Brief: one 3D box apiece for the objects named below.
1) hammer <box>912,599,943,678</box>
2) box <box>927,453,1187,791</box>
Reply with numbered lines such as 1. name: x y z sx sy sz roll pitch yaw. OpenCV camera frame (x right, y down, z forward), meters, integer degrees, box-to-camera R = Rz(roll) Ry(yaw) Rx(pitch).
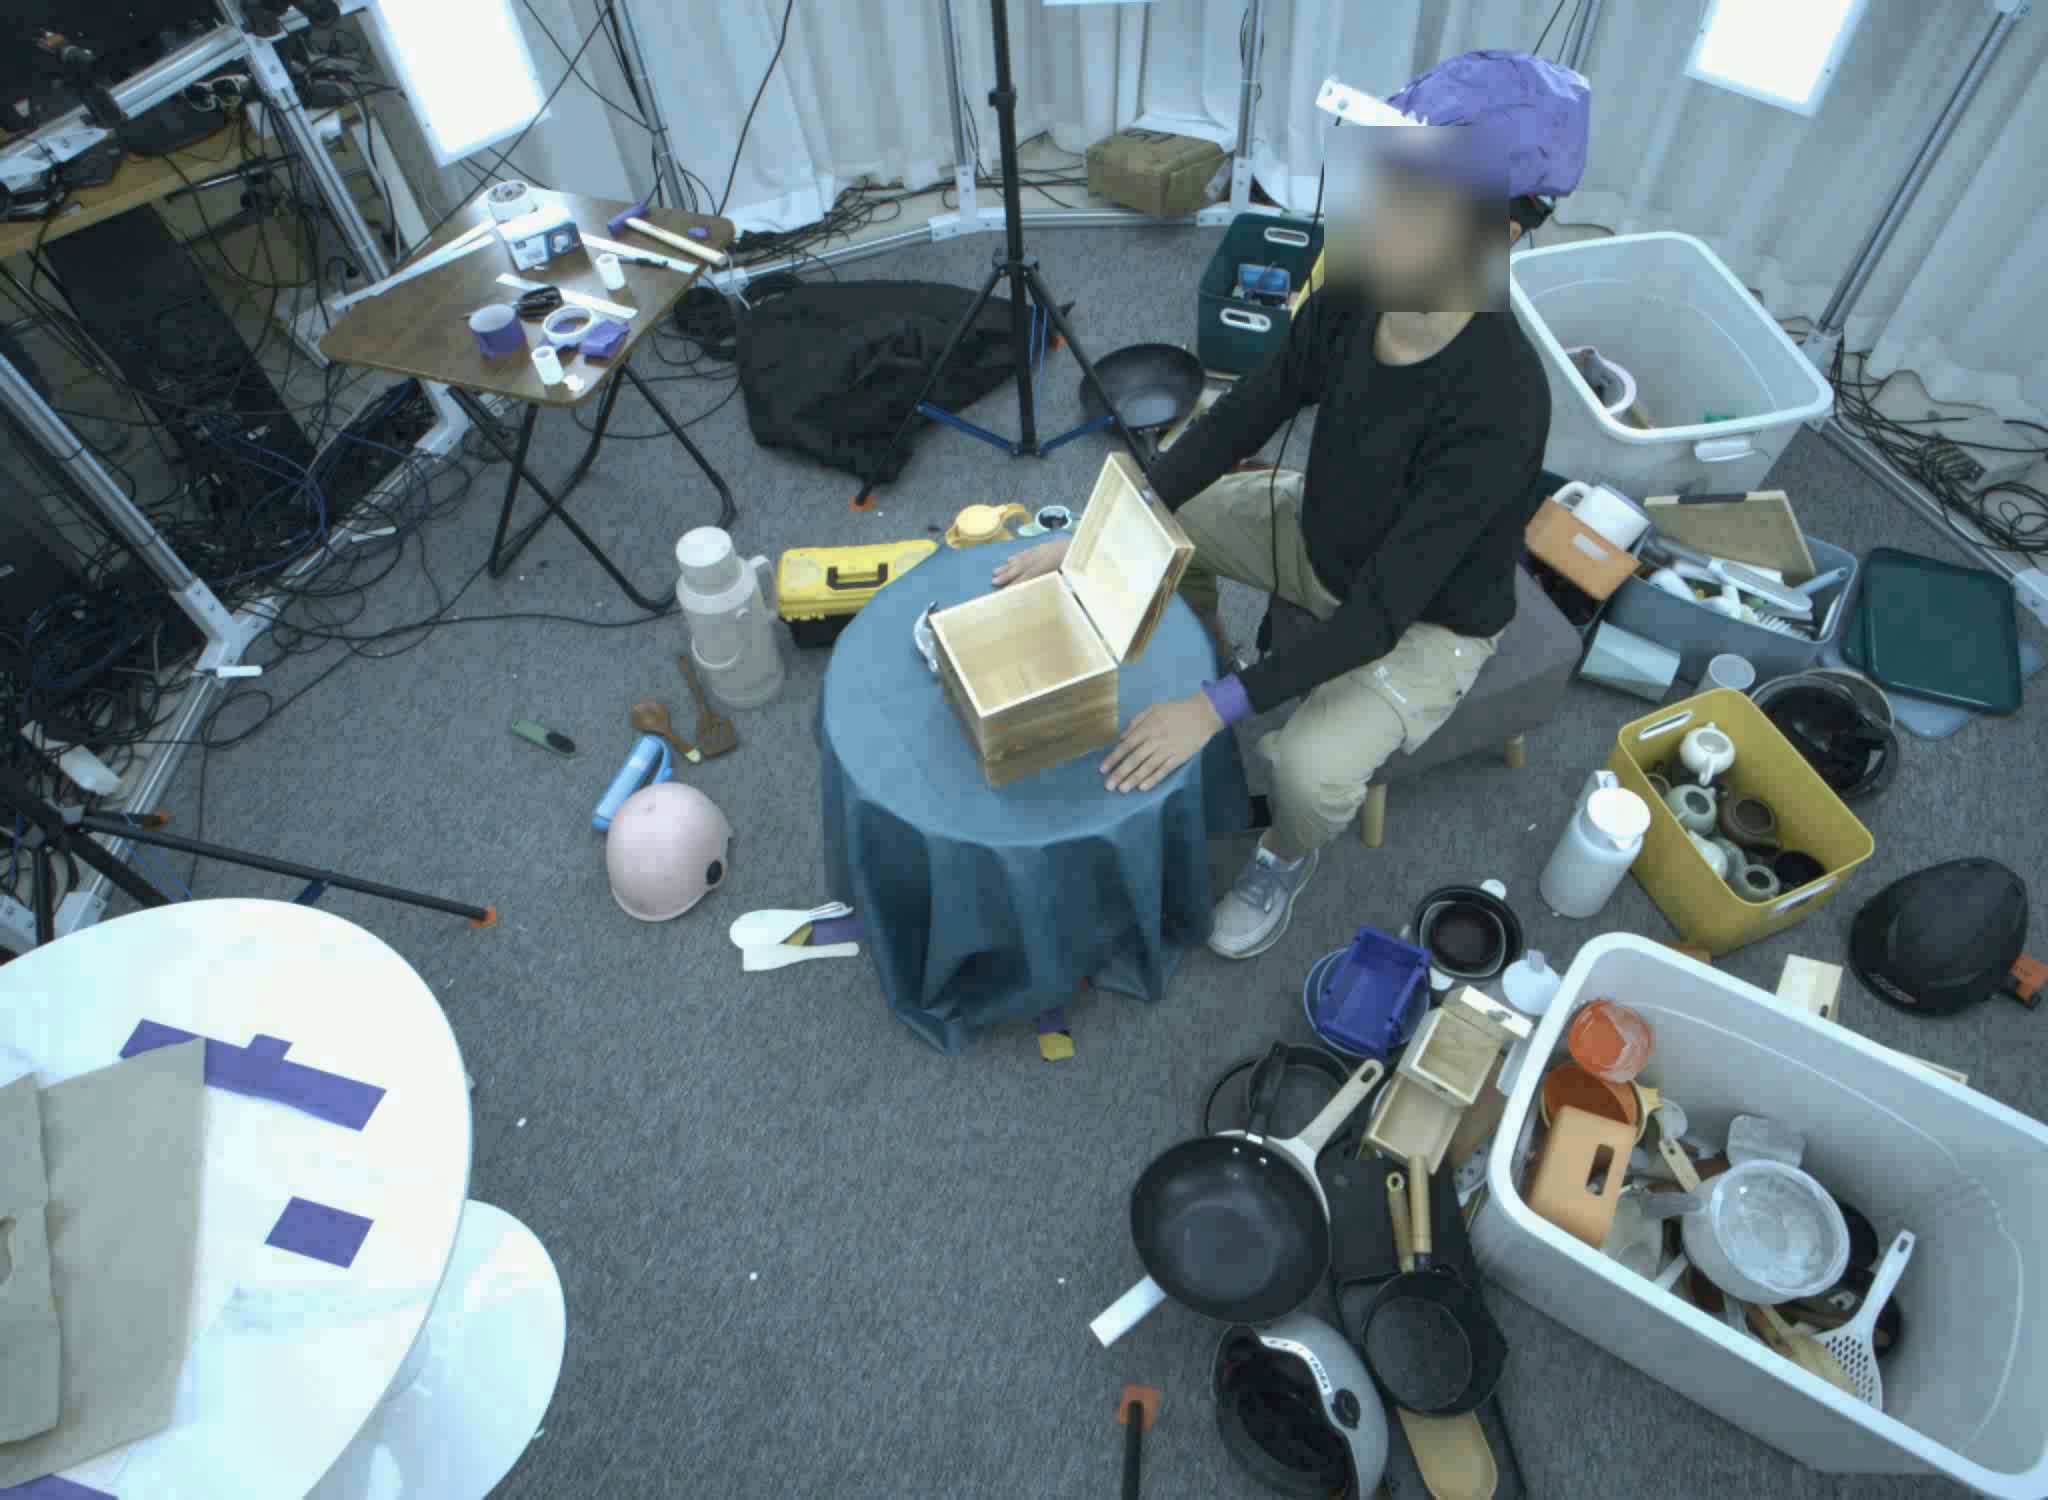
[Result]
1. hammer: -0.011 -0.218 1.916 0.340 0.032 0.129 -20 56 -11
2. box: 0.041 -0.175 1.687 0.324 0.379 0.205 -20 55 -13
